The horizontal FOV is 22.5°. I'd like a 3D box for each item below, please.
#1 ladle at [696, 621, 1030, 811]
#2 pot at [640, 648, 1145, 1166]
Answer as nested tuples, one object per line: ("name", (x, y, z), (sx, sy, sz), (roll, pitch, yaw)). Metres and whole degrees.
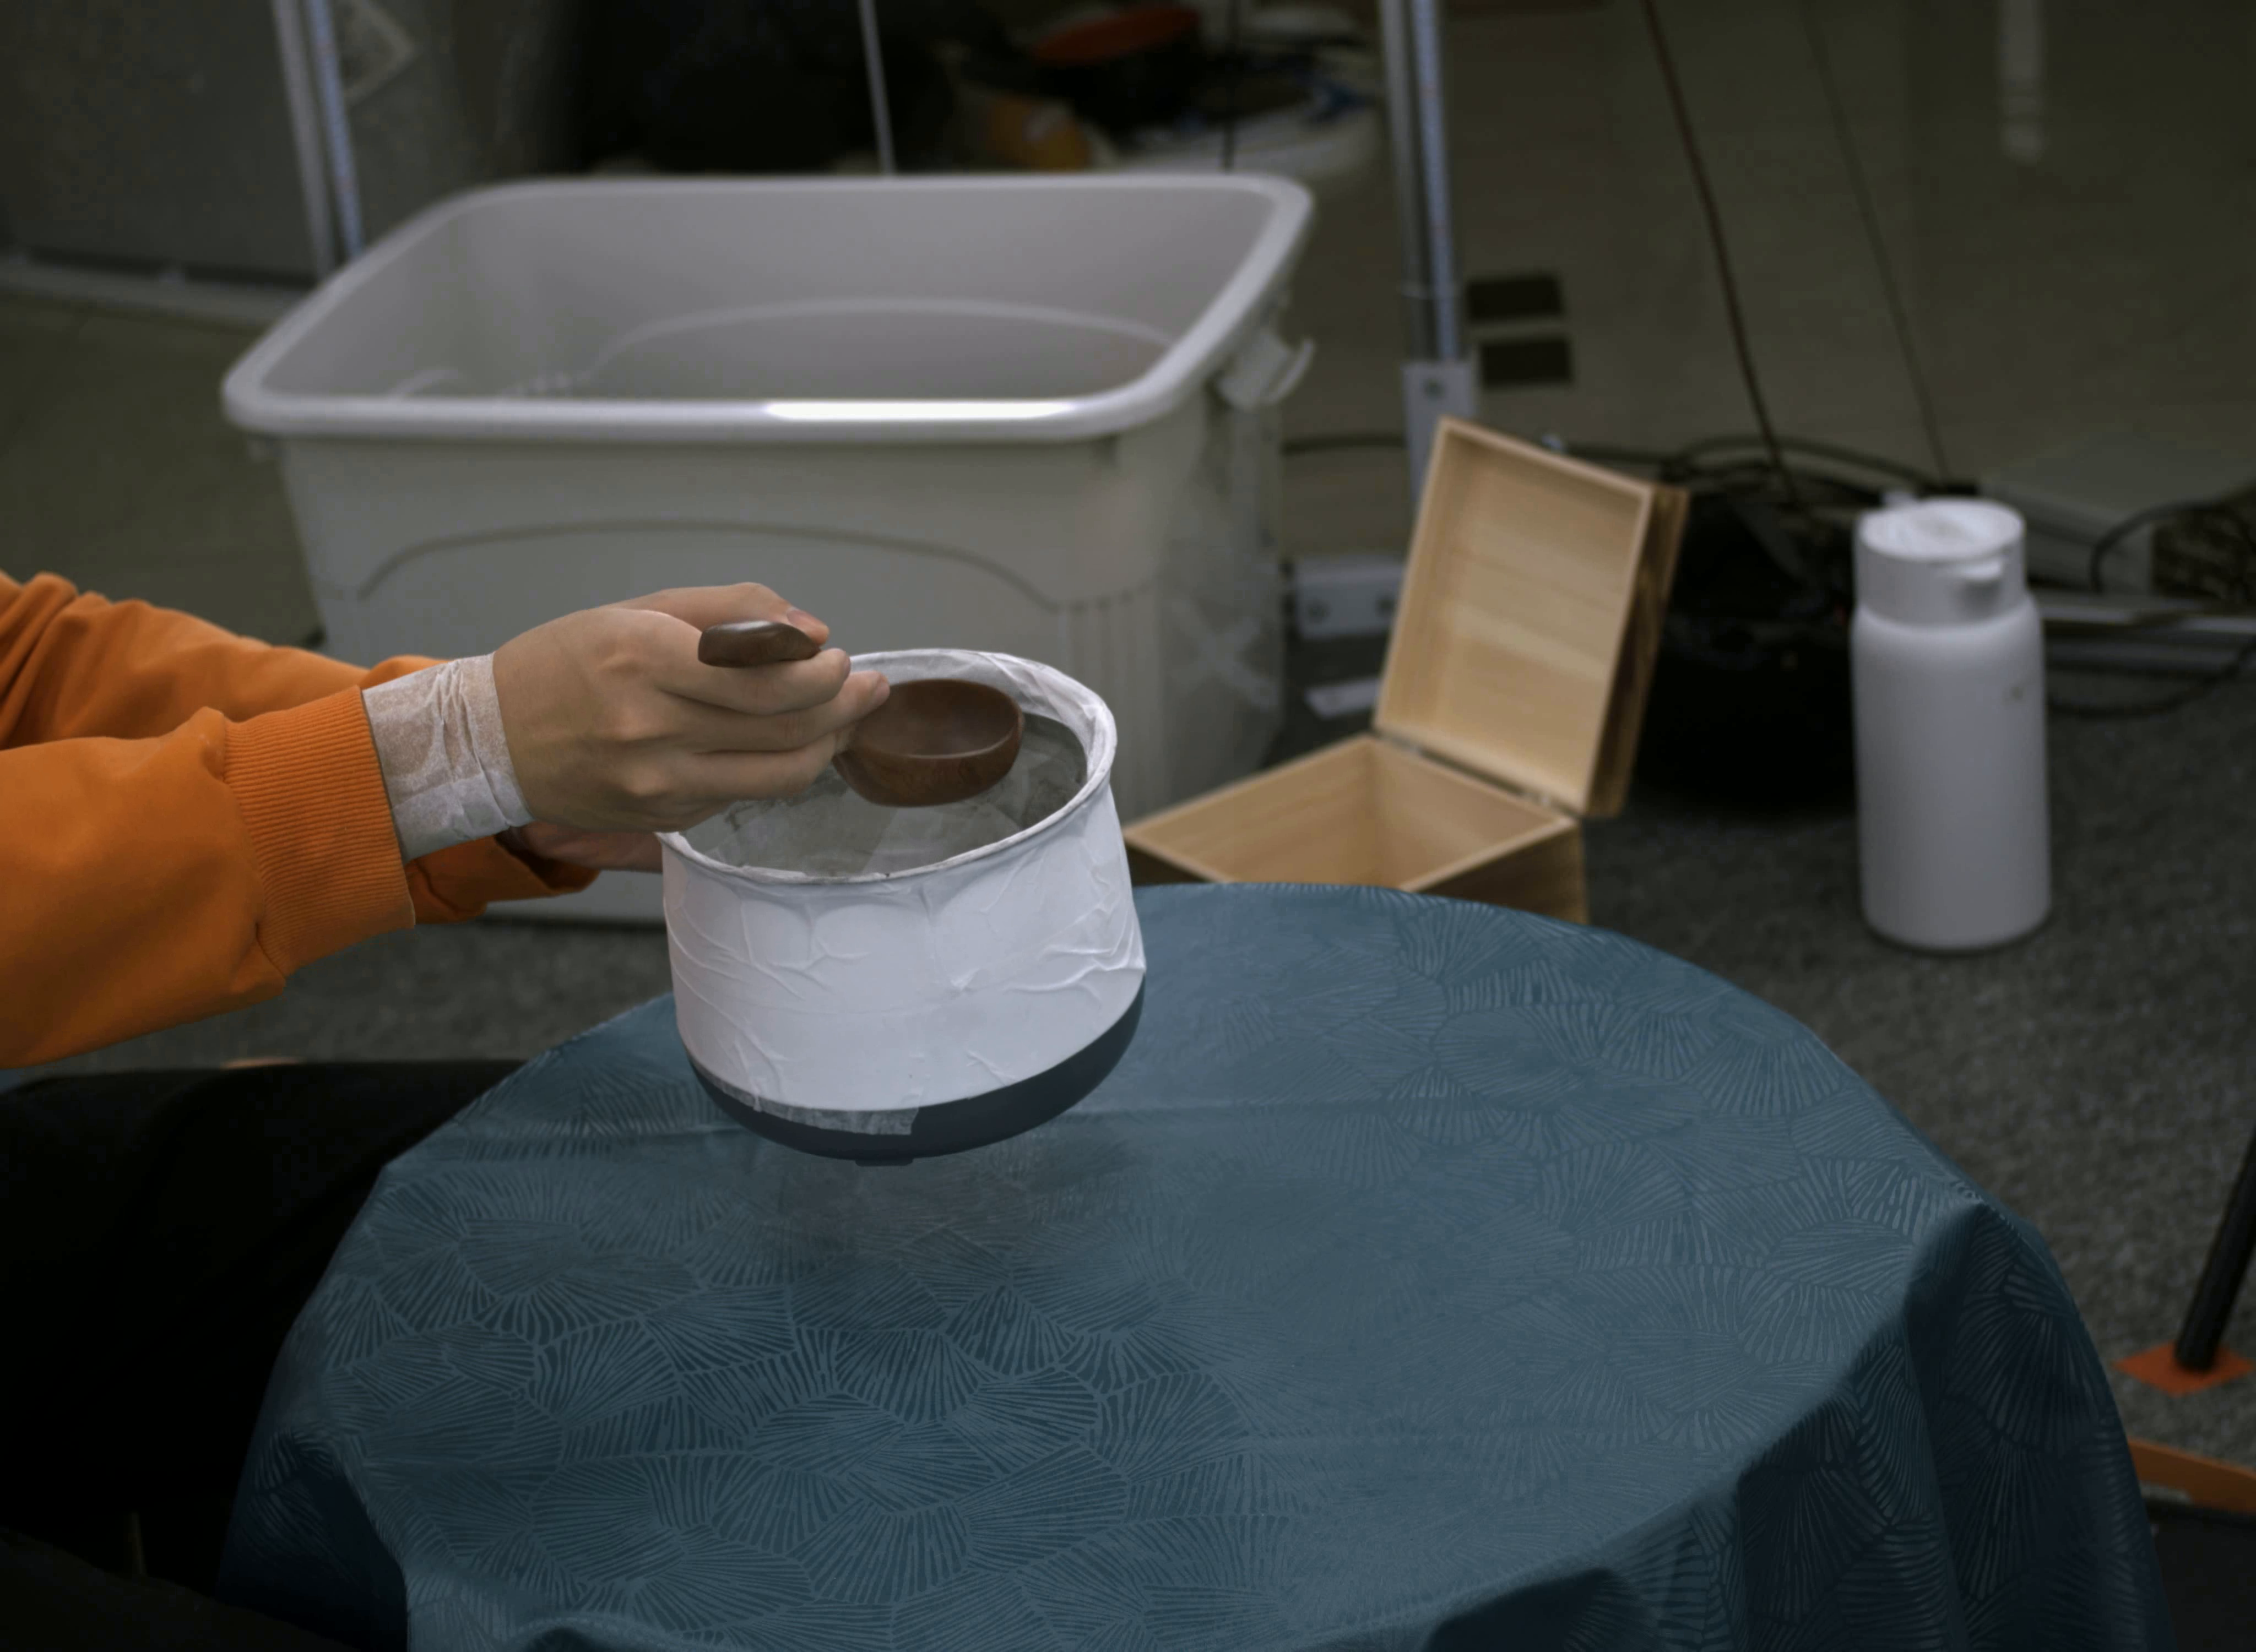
("ladle", (-0.100, -0.054, 2.003), (0.076, 0.065, 0.262), (2, -13, 16))
("pot", (-0.101, 0.022, 2.120), (0.177, 0.139, 0.231), (-25, 34, -29))
